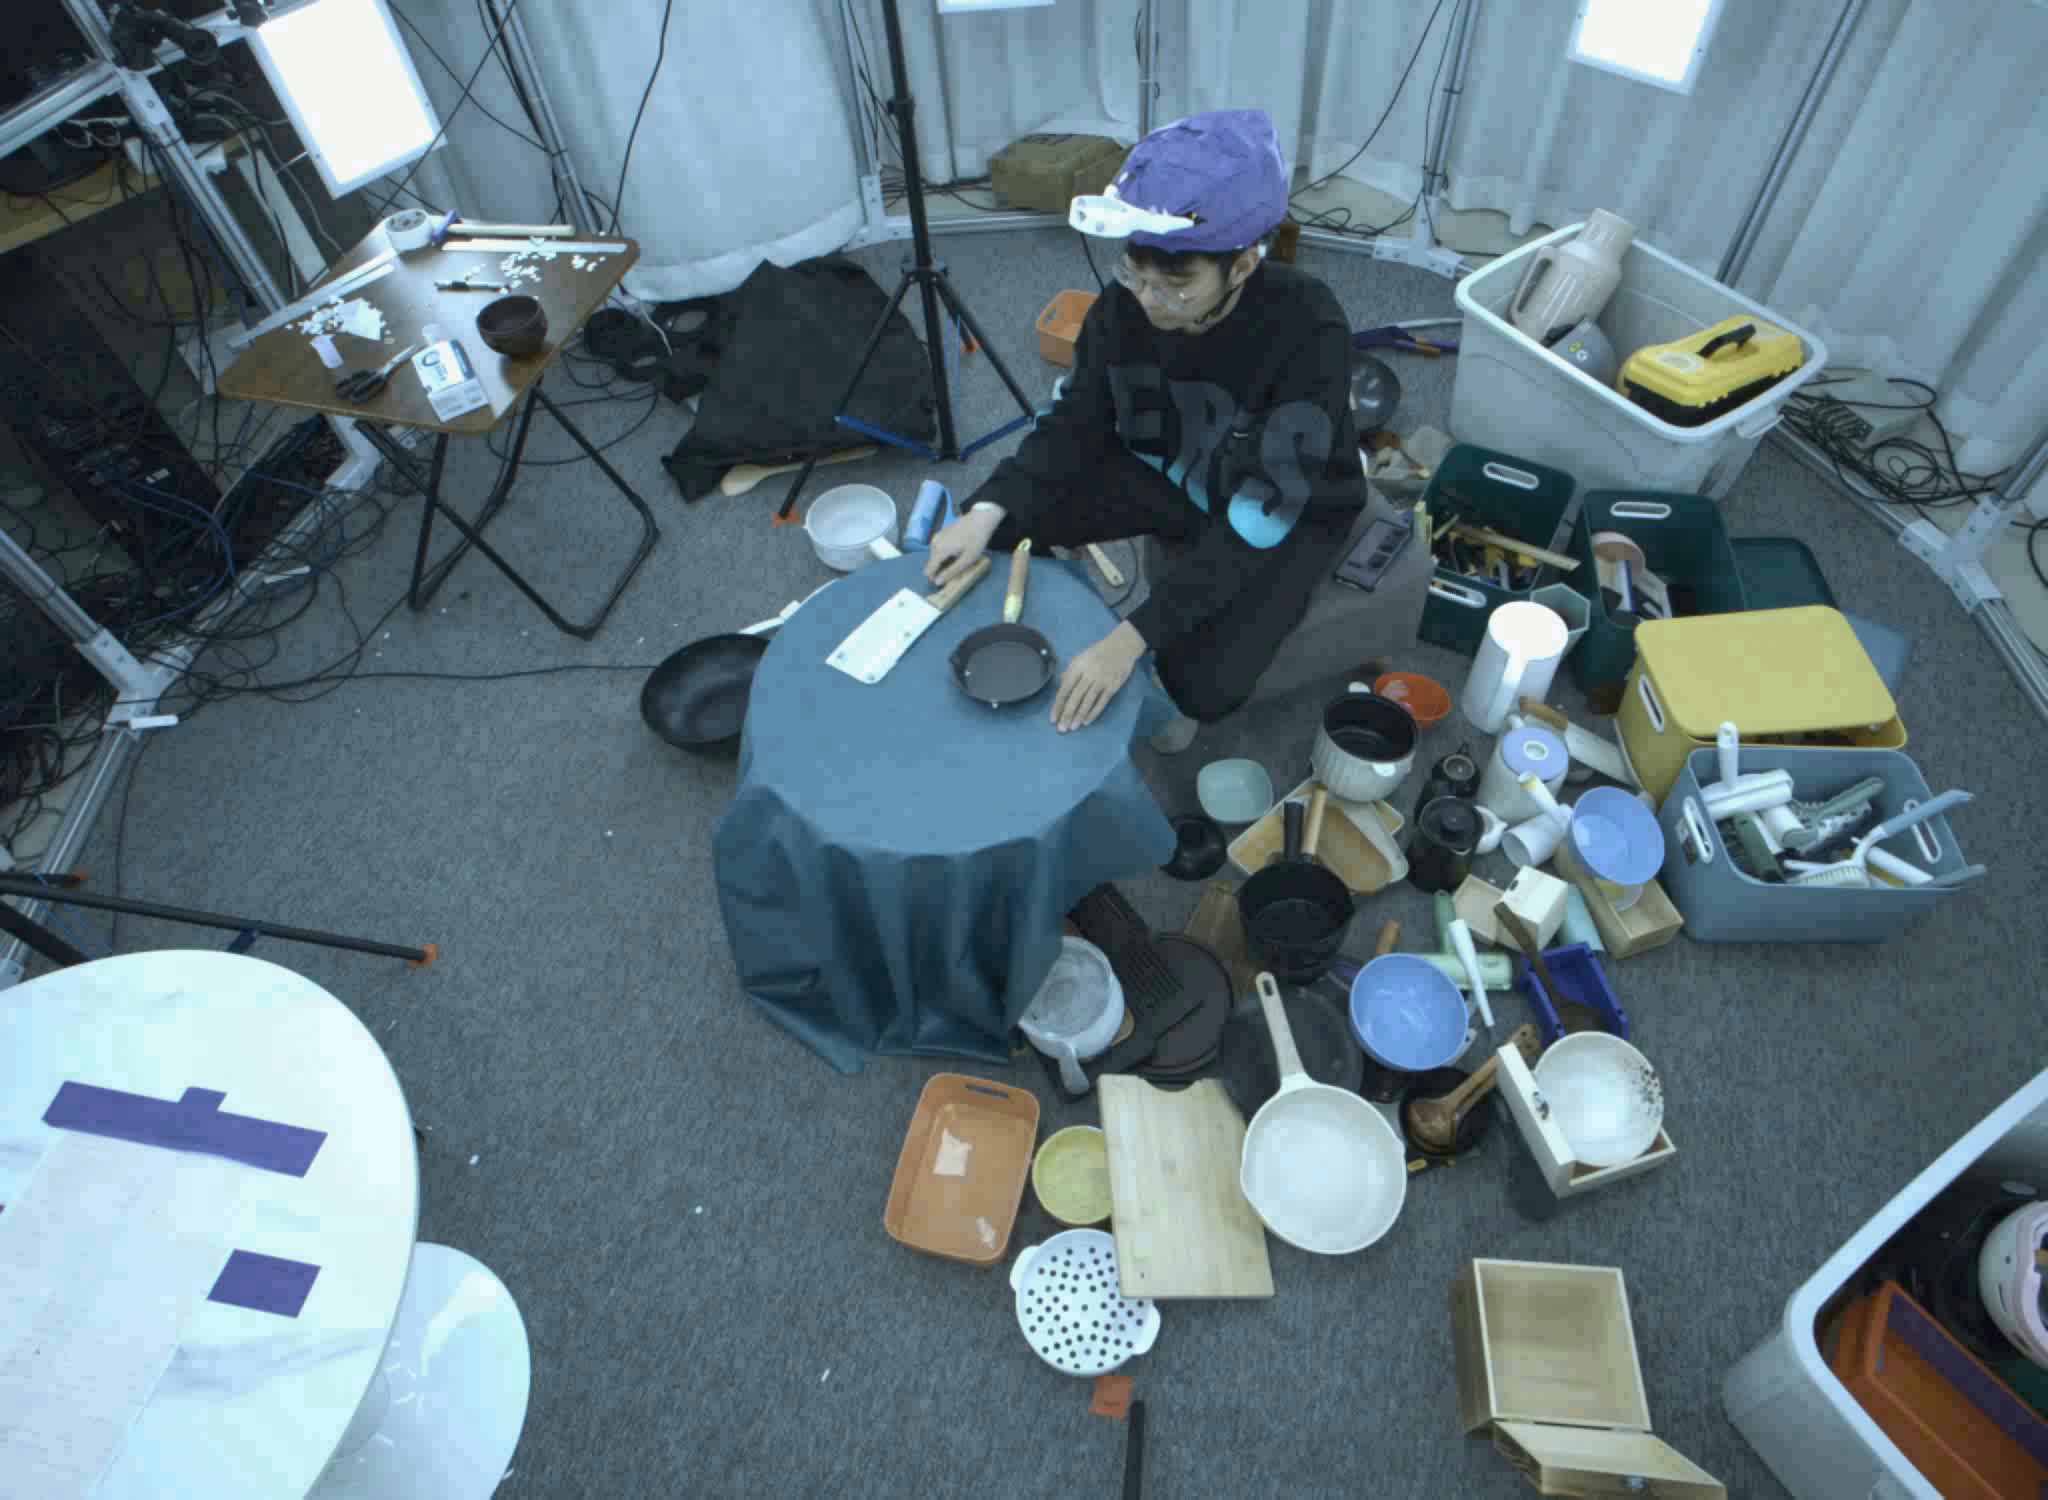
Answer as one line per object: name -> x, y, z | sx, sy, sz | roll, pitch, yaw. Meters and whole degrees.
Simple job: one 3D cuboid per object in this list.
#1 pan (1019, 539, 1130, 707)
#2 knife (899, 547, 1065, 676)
pan -> 0.093, -0.196, 1.891 | 0.168, 0.050, 0.322 | 9, 57, 9
knife -> -0.056, -0.224, 1.936 | 0.317, 0.022, 0.112 | -40, 62, -20
